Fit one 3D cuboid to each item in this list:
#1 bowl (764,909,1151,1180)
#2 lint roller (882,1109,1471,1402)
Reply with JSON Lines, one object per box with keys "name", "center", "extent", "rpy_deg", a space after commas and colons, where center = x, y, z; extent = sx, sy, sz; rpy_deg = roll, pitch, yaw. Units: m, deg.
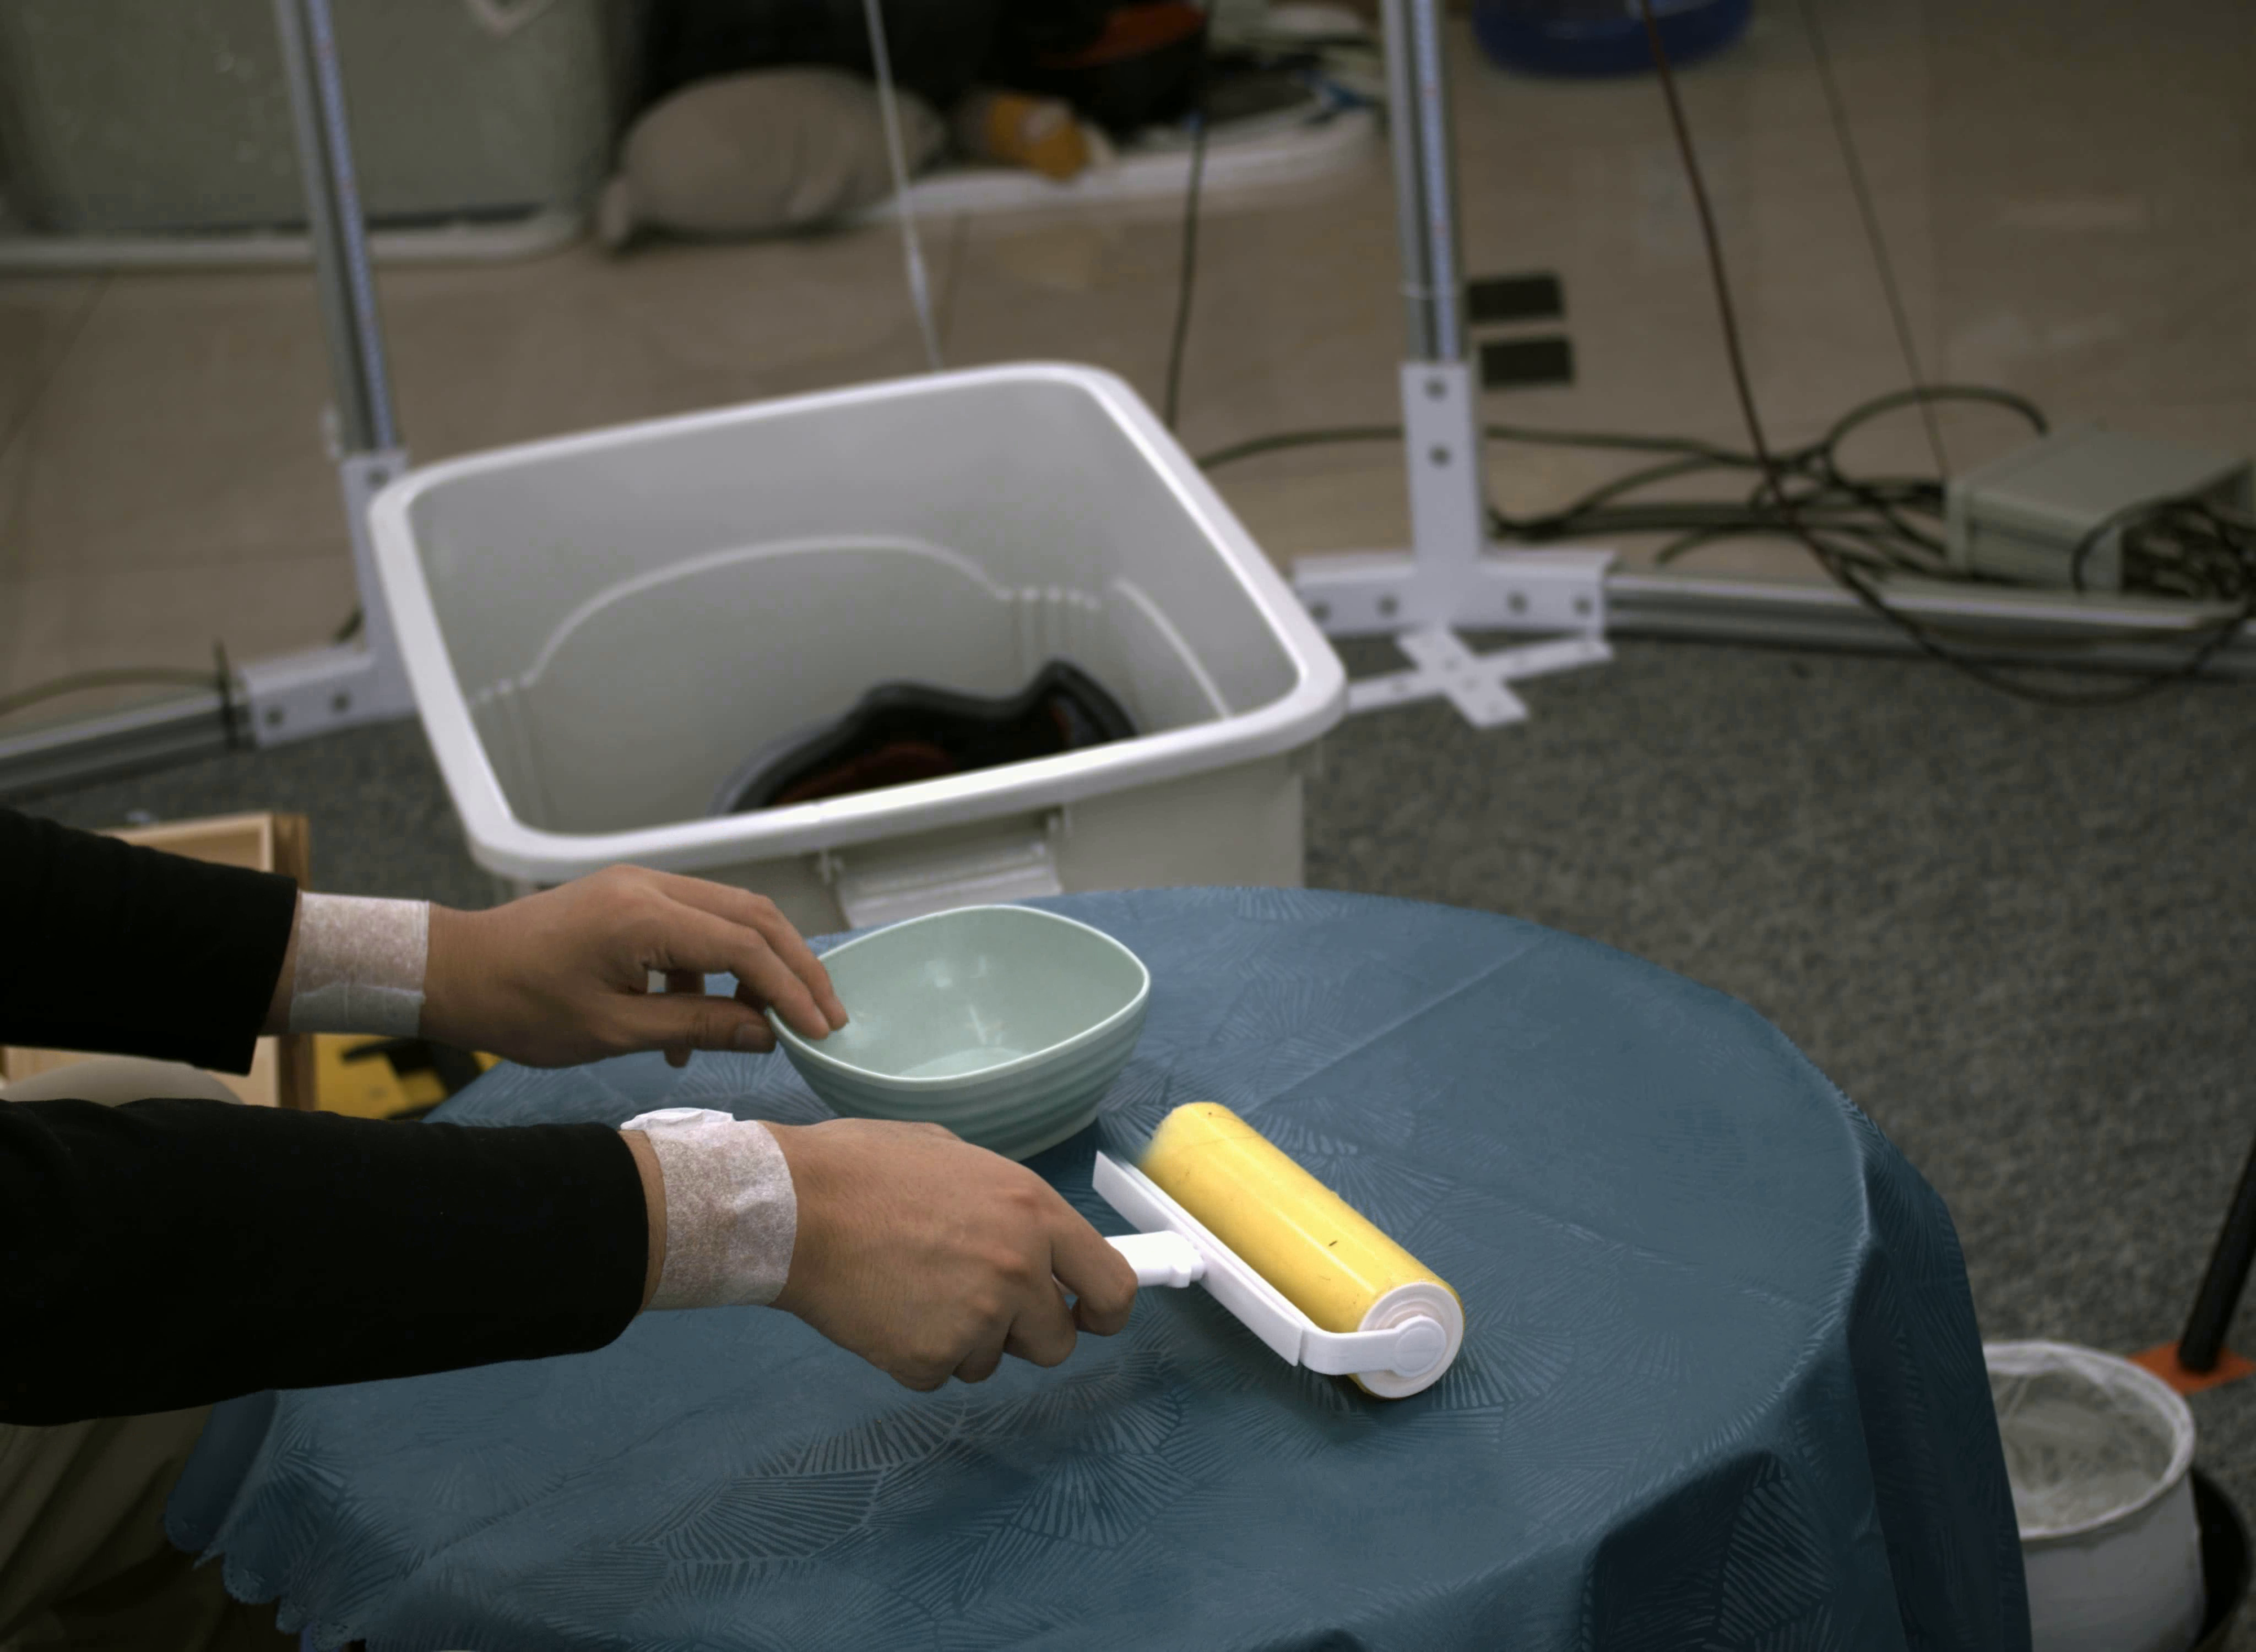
{"name": "bowl", "center": [-0.064, 0.090, 2.201], "extent": [0.151, 0.059, 0.149], "rpy_deg": [-4, 25, 2]}
{"name": "lint roller", "center": [0.002, 0.148, 2.007], "extent": [0.192, 0.052, 0.172], "rpy_deg": [8, 17, -34]}
